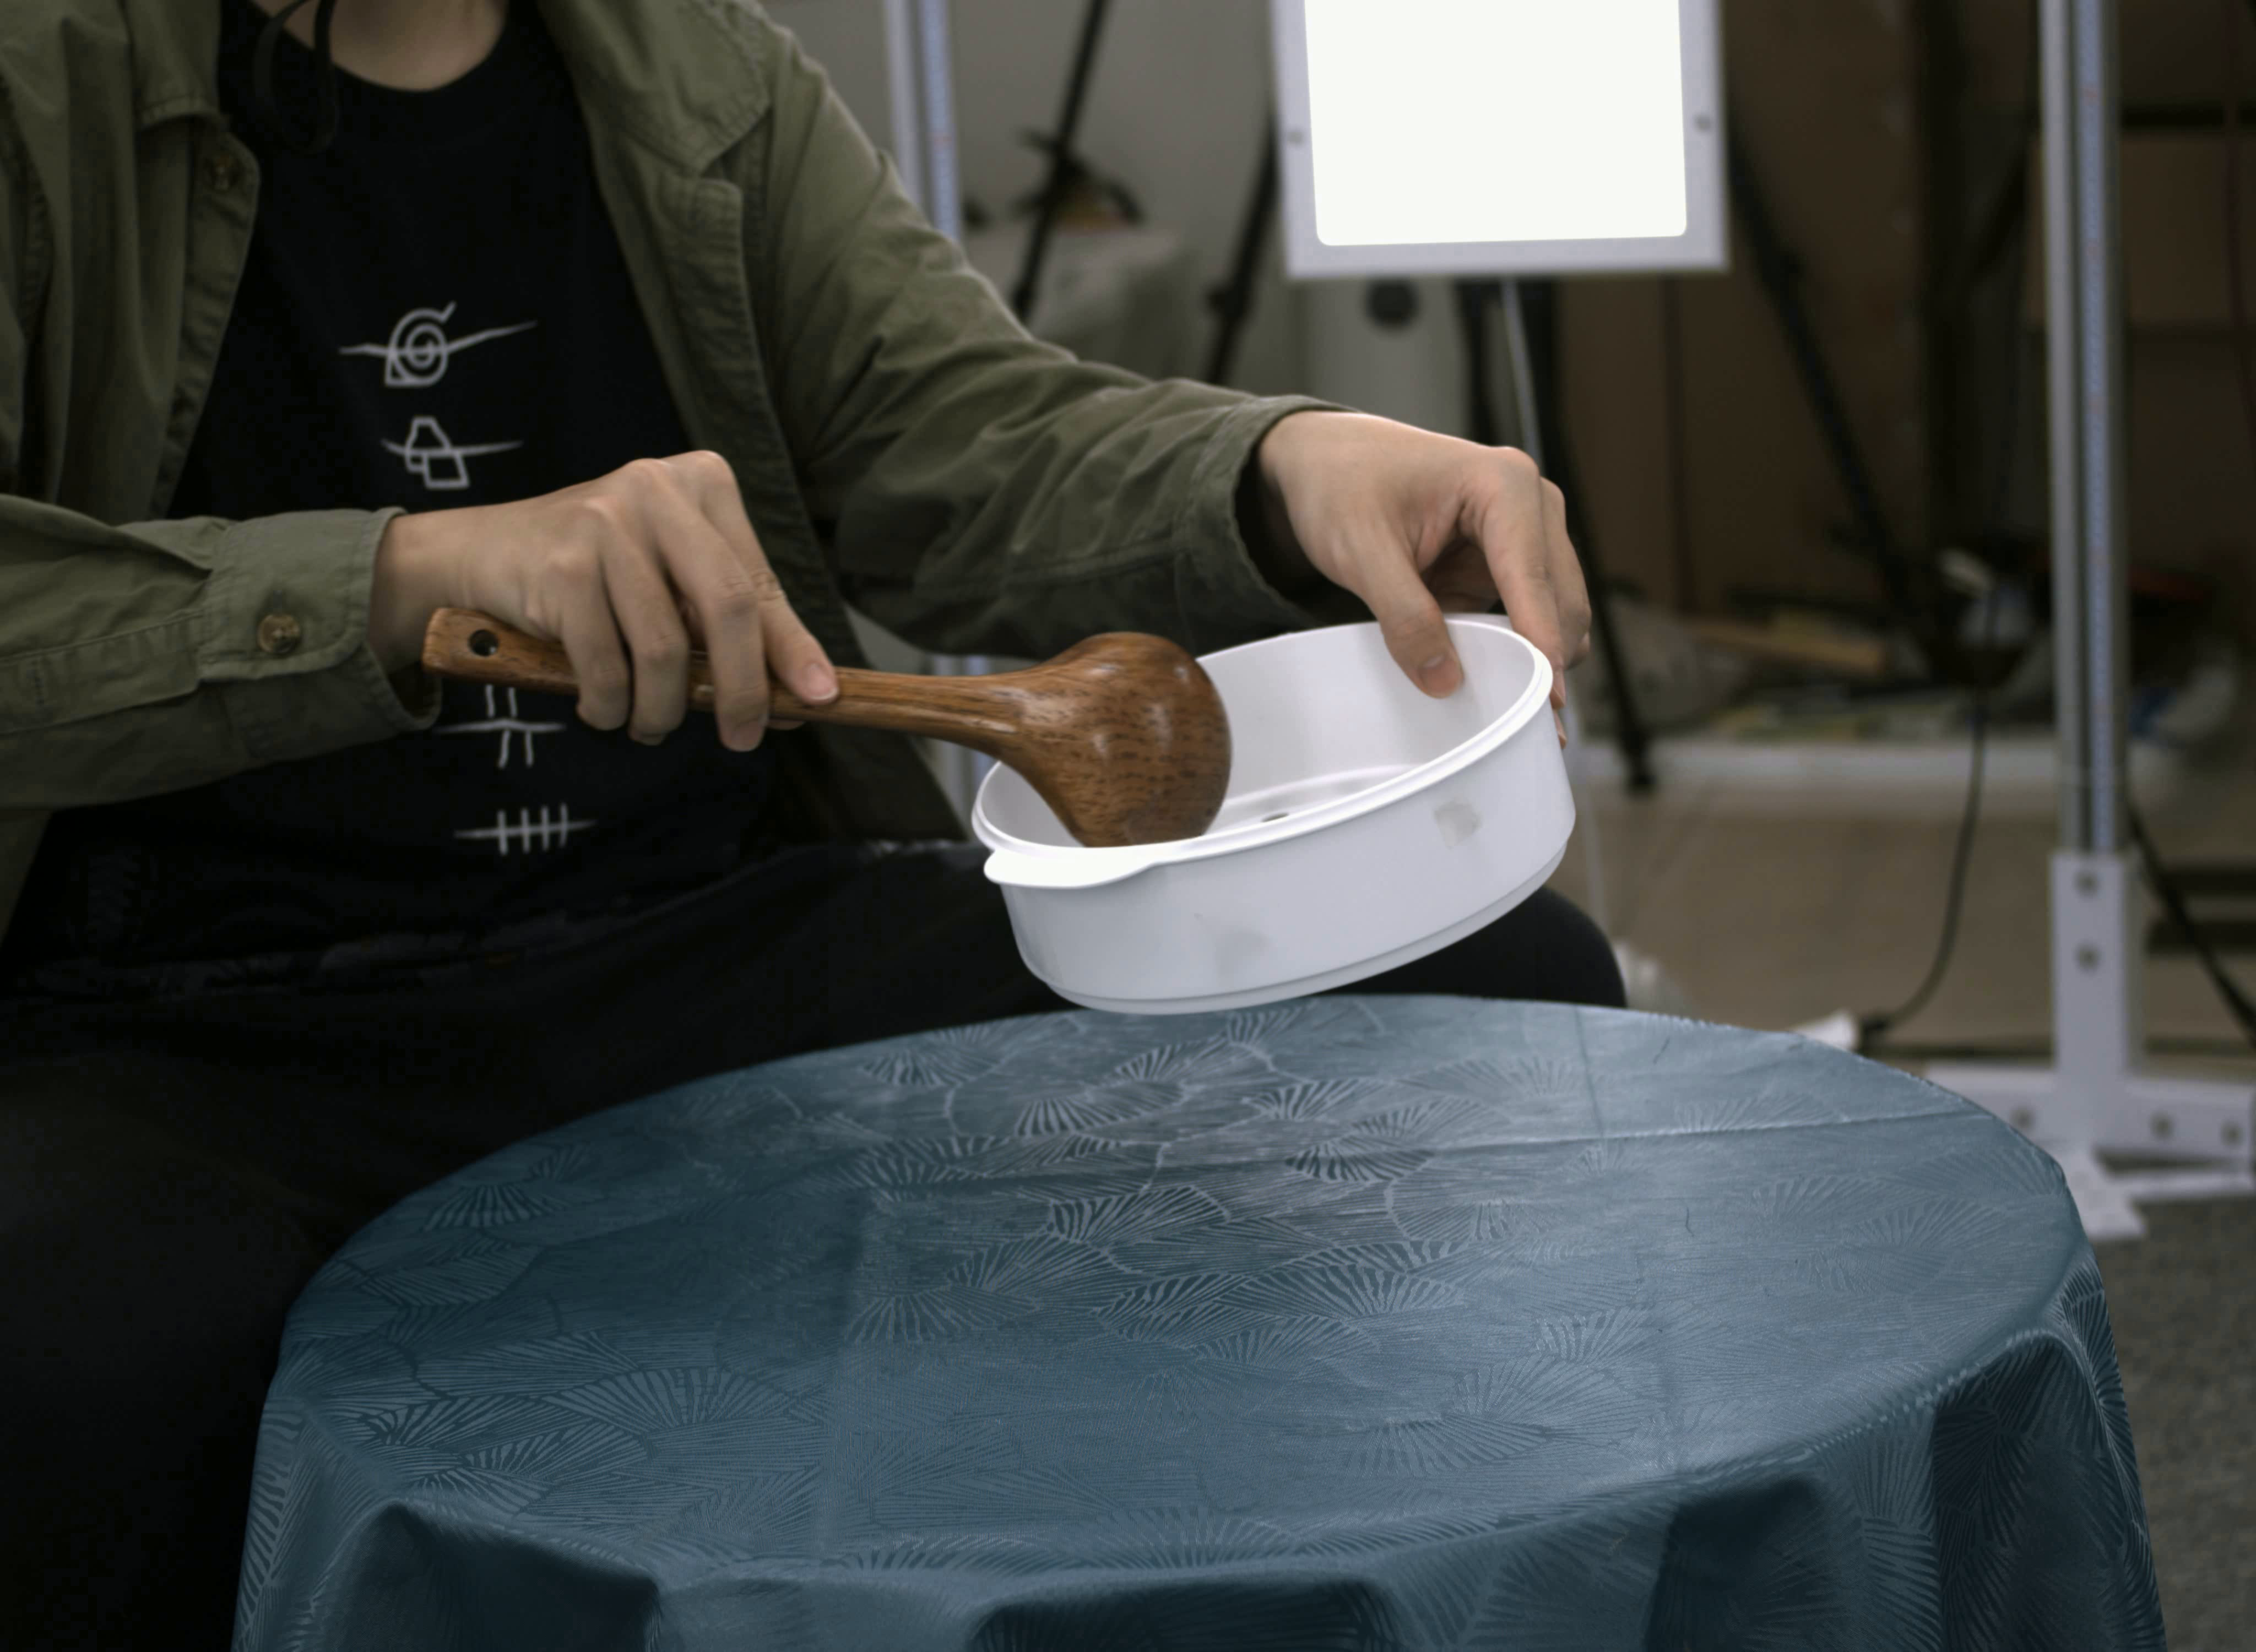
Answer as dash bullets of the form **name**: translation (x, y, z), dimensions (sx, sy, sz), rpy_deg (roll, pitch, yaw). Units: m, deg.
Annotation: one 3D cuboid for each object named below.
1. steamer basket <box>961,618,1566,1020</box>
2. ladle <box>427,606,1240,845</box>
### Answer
- **steamer basket**: translation (0.048, -0.001, 1.841), dimensions (0.206, 0.069, 0.225), rpy_deg (4, 27, 47)
- **ladle**: translation (-0.098, -0.042, 1.871), dimensions (0.275, 0.082, 0.076), rpy_deg (6, -18, 8)
